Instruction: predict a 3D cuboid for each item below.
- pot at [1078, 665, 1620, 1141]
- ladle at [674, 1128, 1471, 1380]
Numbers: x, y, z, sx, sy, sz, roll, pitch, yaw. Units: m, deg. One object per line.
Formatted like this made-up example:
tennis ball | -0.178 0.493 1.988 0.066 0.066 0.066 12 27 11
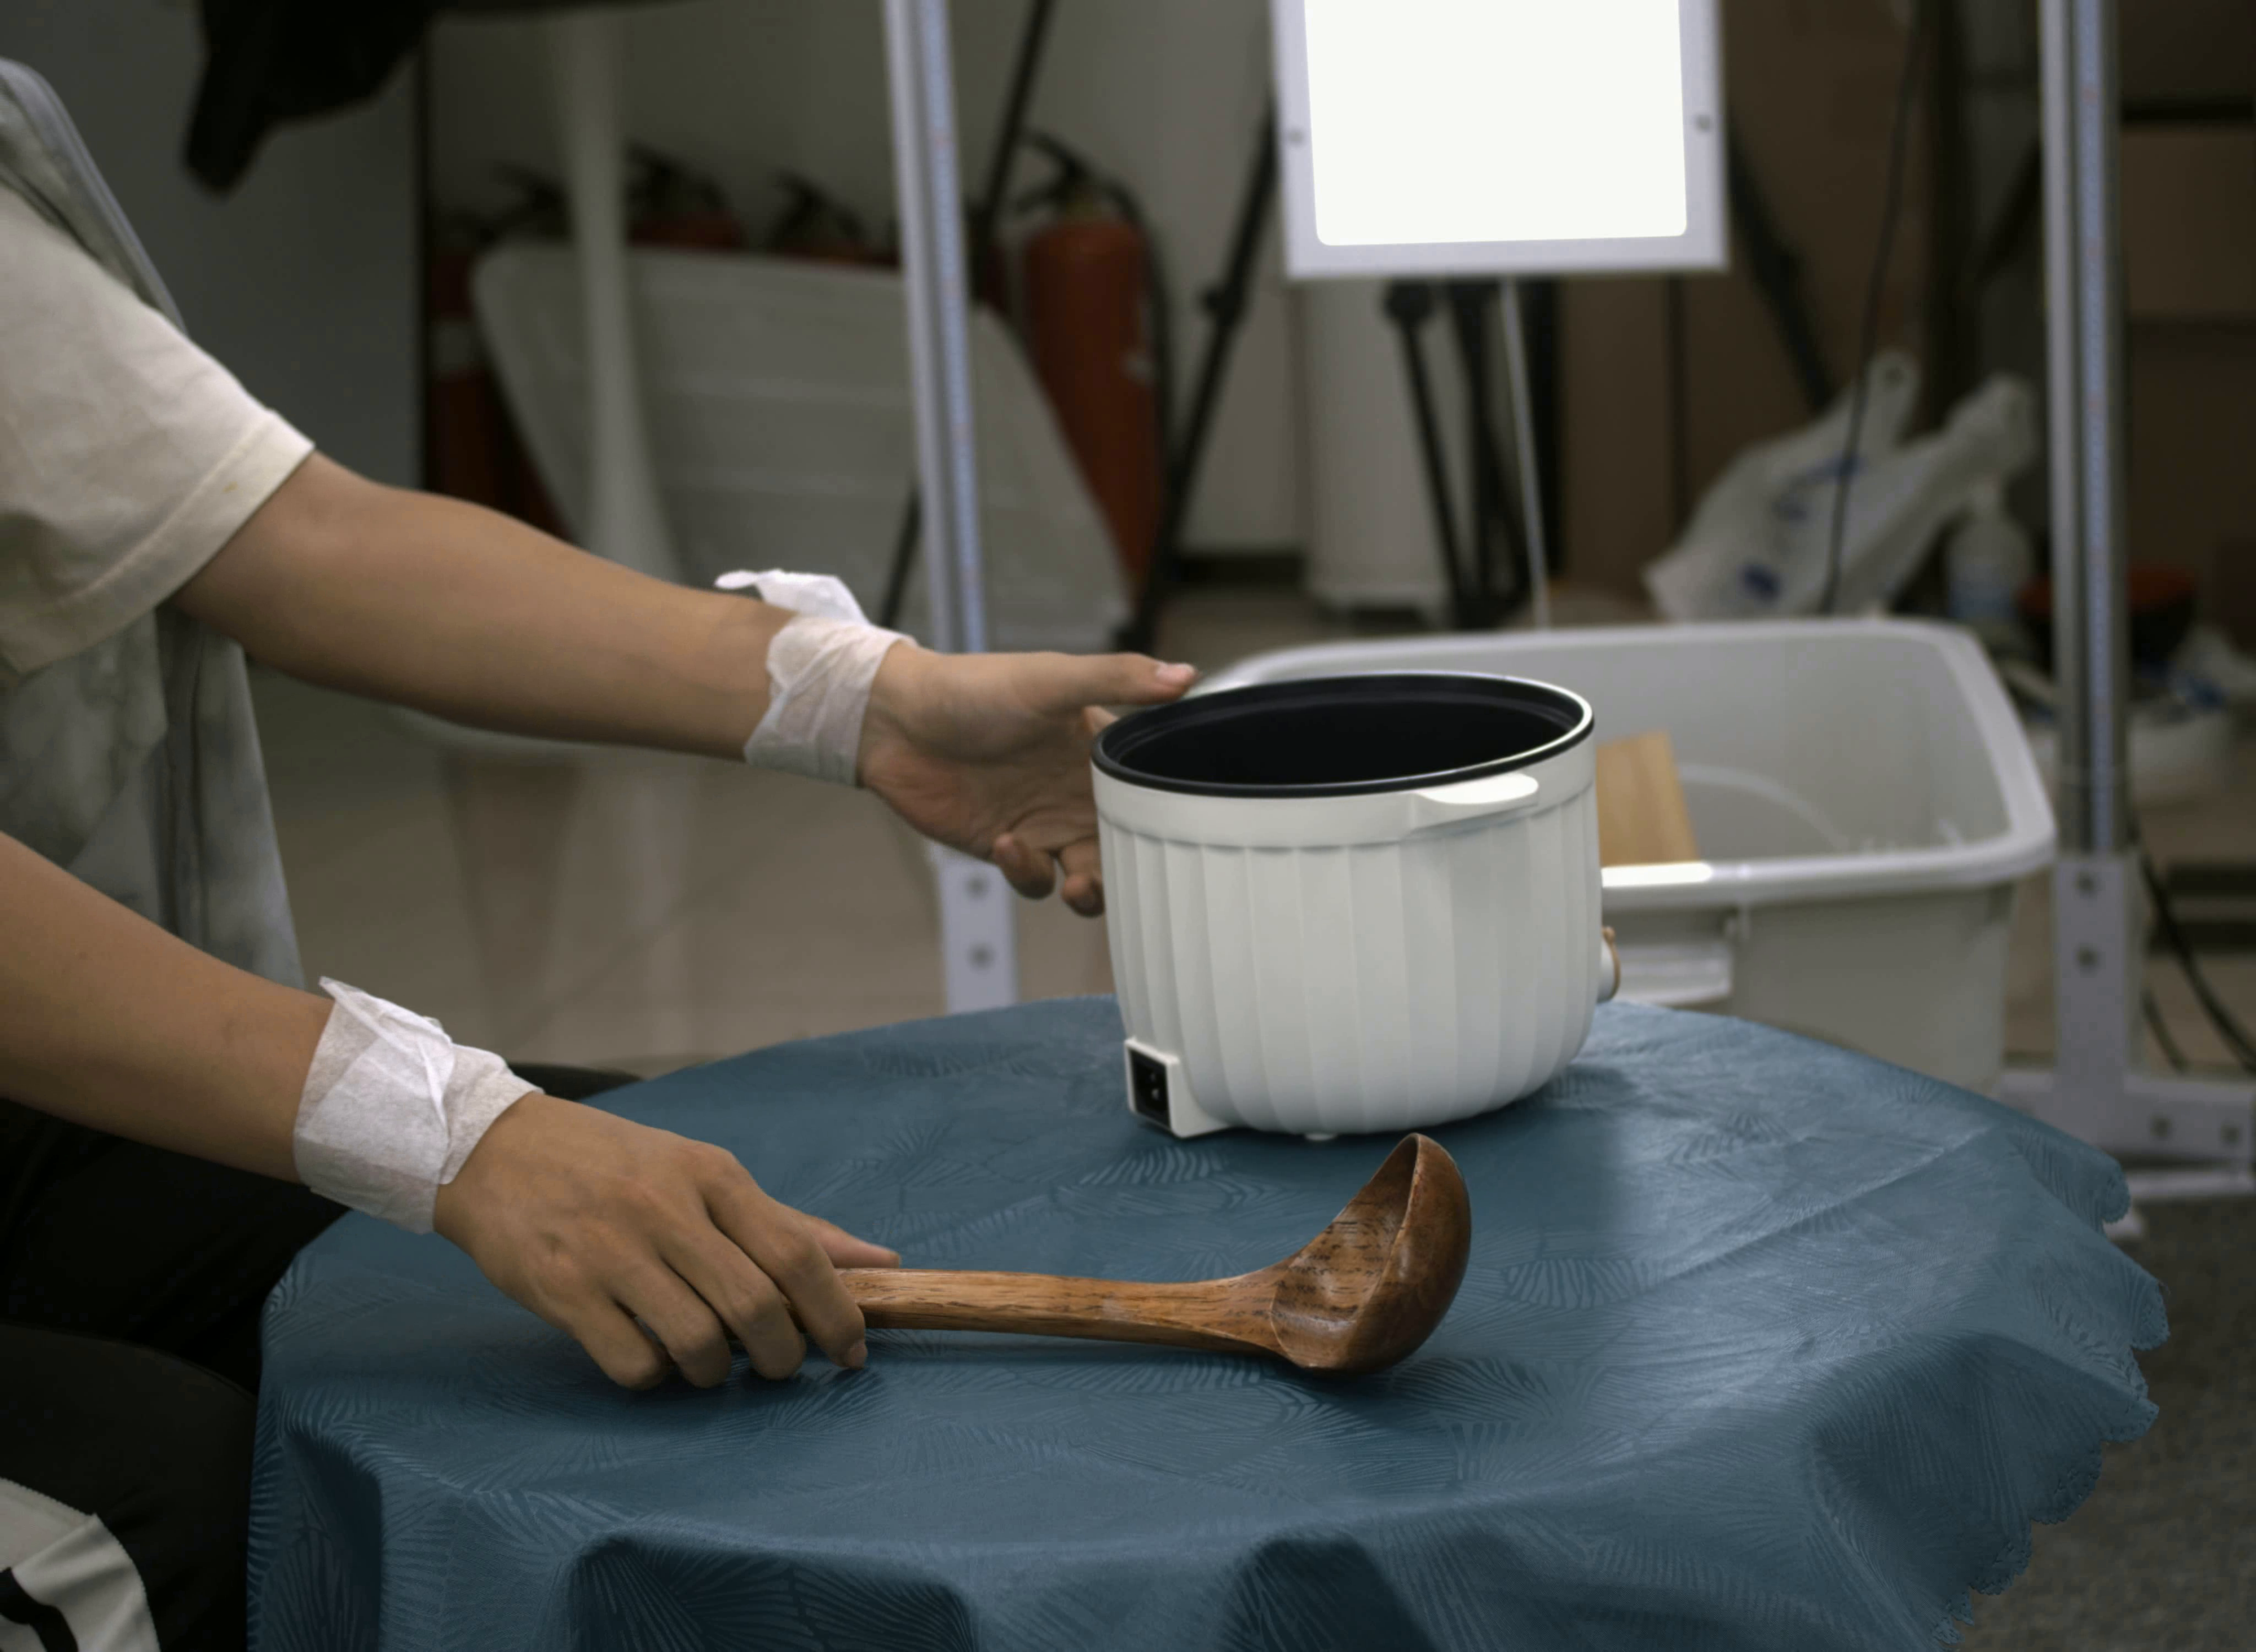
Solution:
pot | 0.085 0.027 1.978 0.187 0.143 0.244 -15 17 -22
ladle | -0.023 0.132 1.724 0.278 0.076 0.081 1 40 21
